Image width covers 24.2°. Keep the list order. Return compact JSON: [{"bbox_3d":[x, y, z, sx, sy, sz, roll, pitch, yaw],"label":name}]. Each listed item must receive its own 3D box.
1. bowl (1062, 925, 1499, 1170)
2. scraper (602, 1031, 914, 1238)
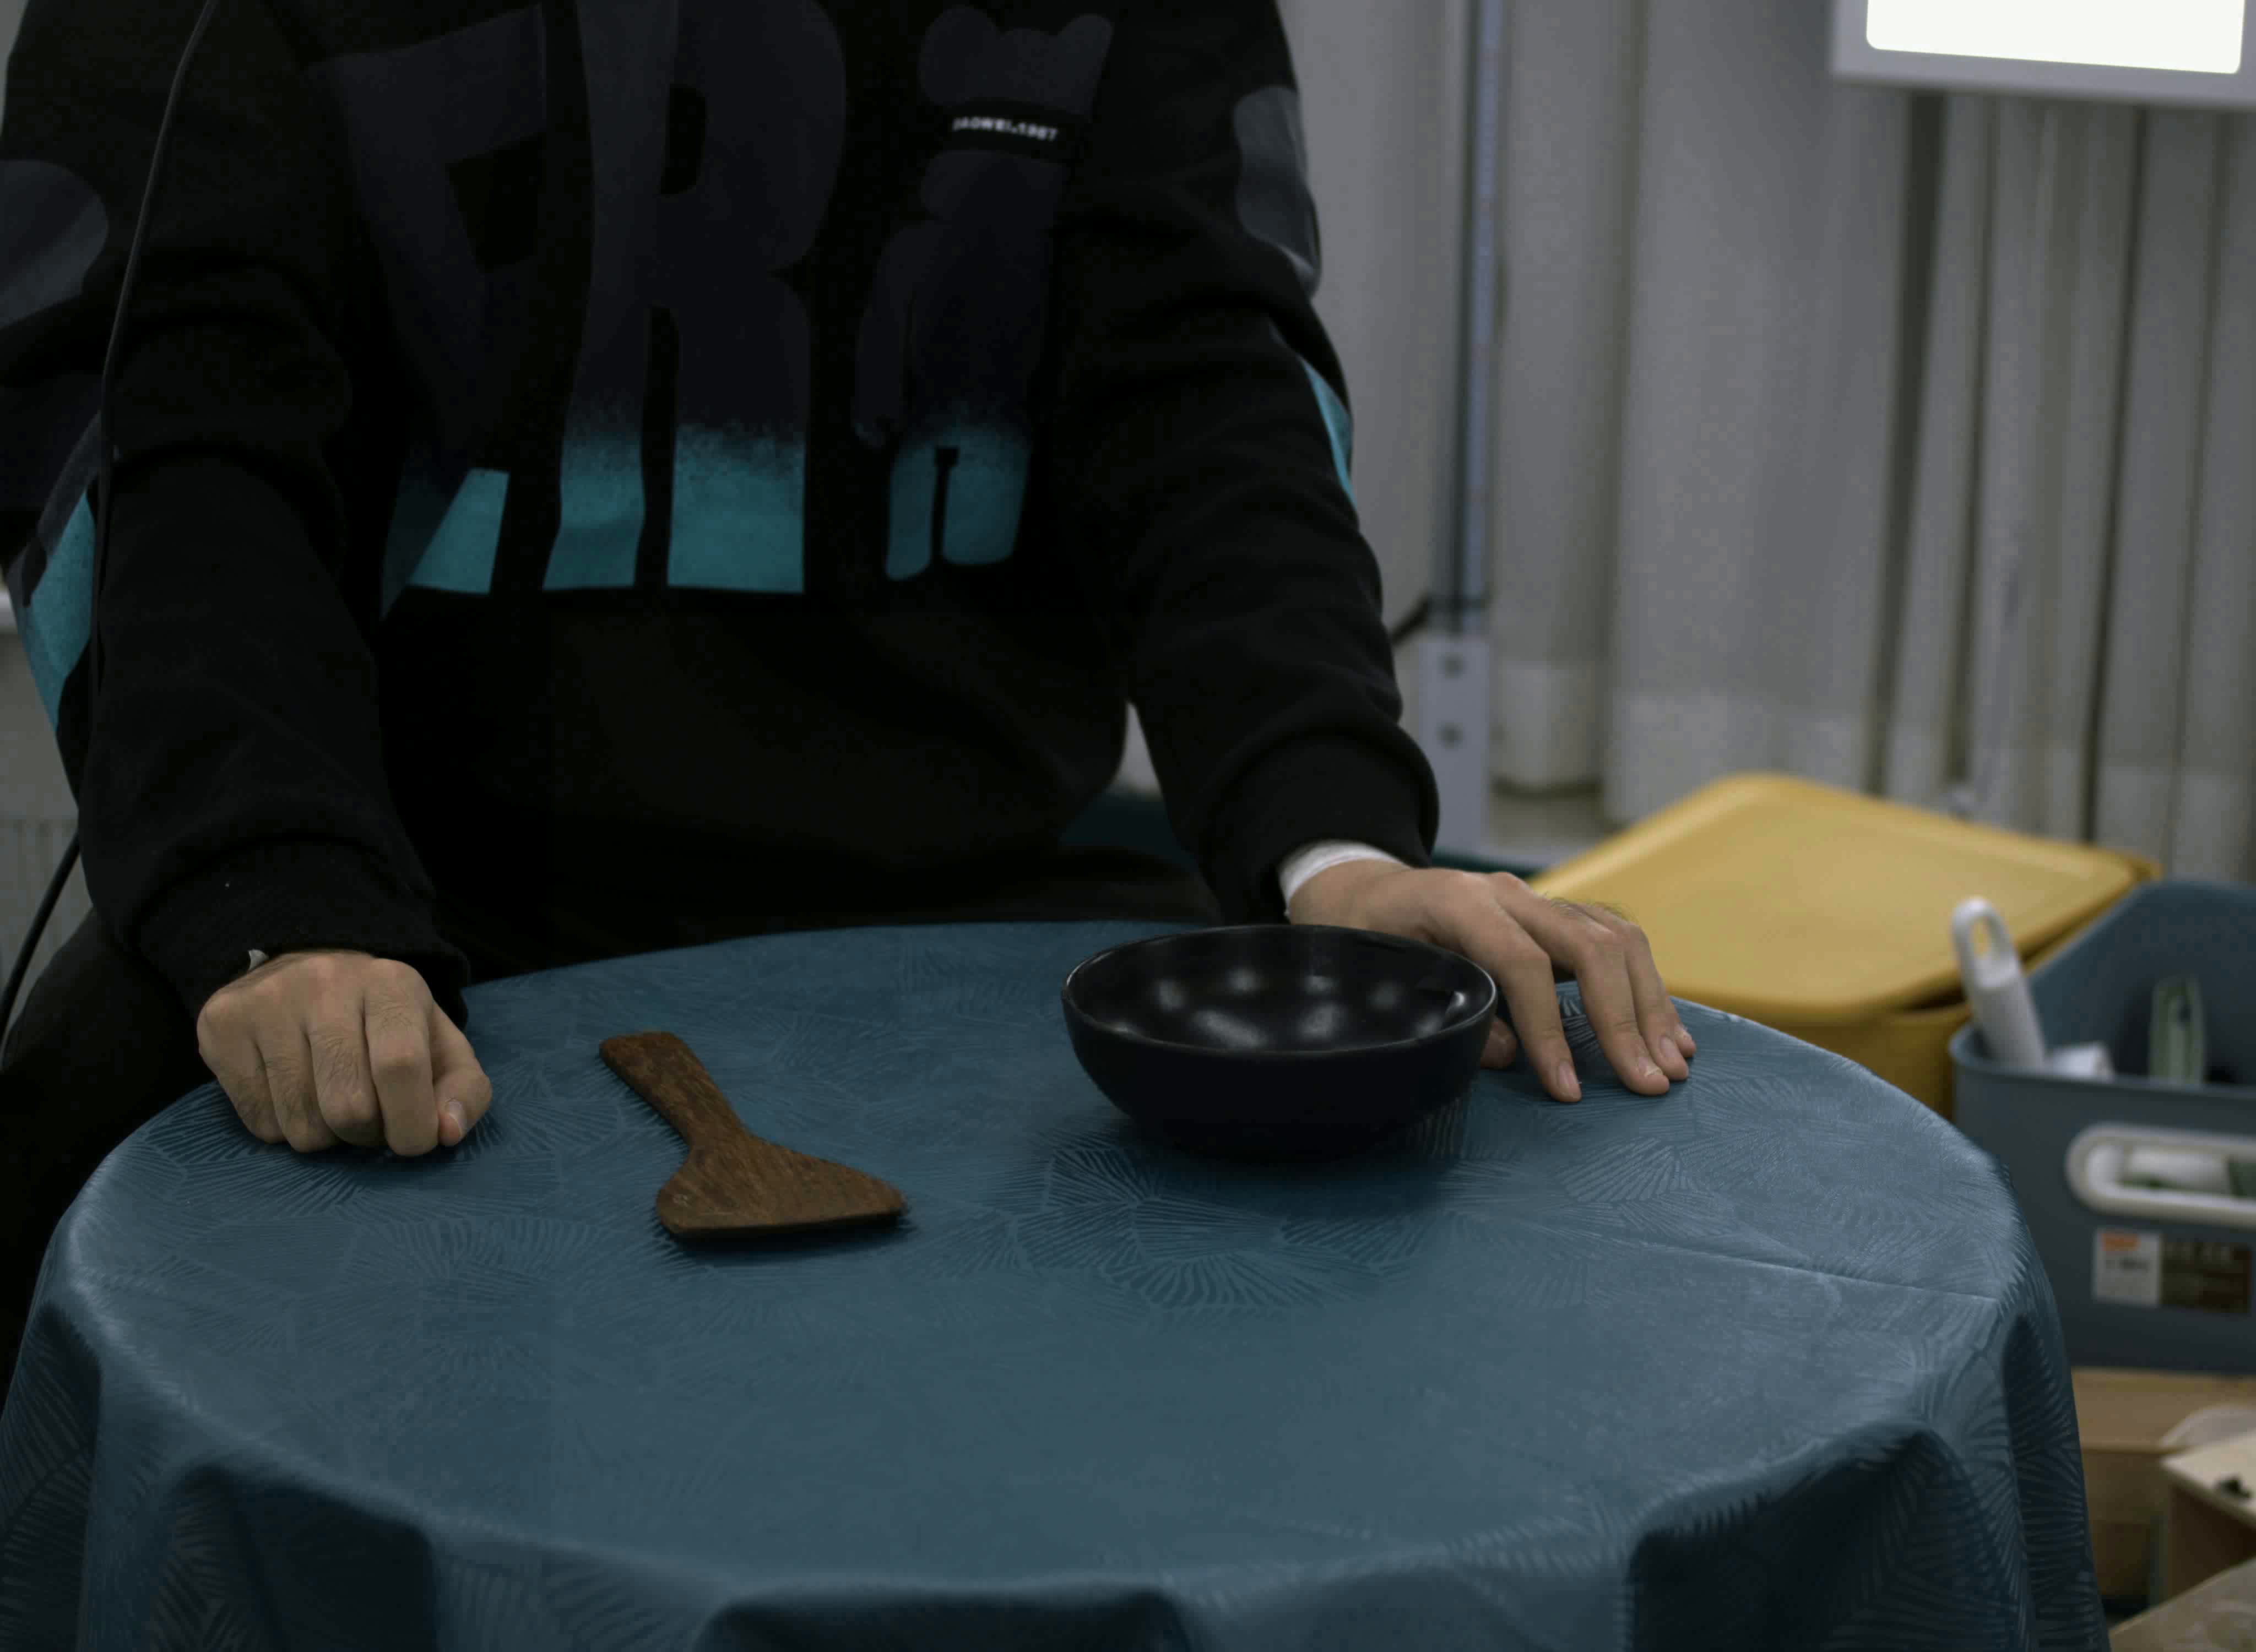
[{"bbox_3d":[0.049,0.075,1.676,0.139,0.050,0.139,-2,16,1],"label":"bowl"},{"bbox_3d":[-0.130,0.097,1.664,0.076,0.011,0.209,-3,15,-19],"label":"scraper"}]
